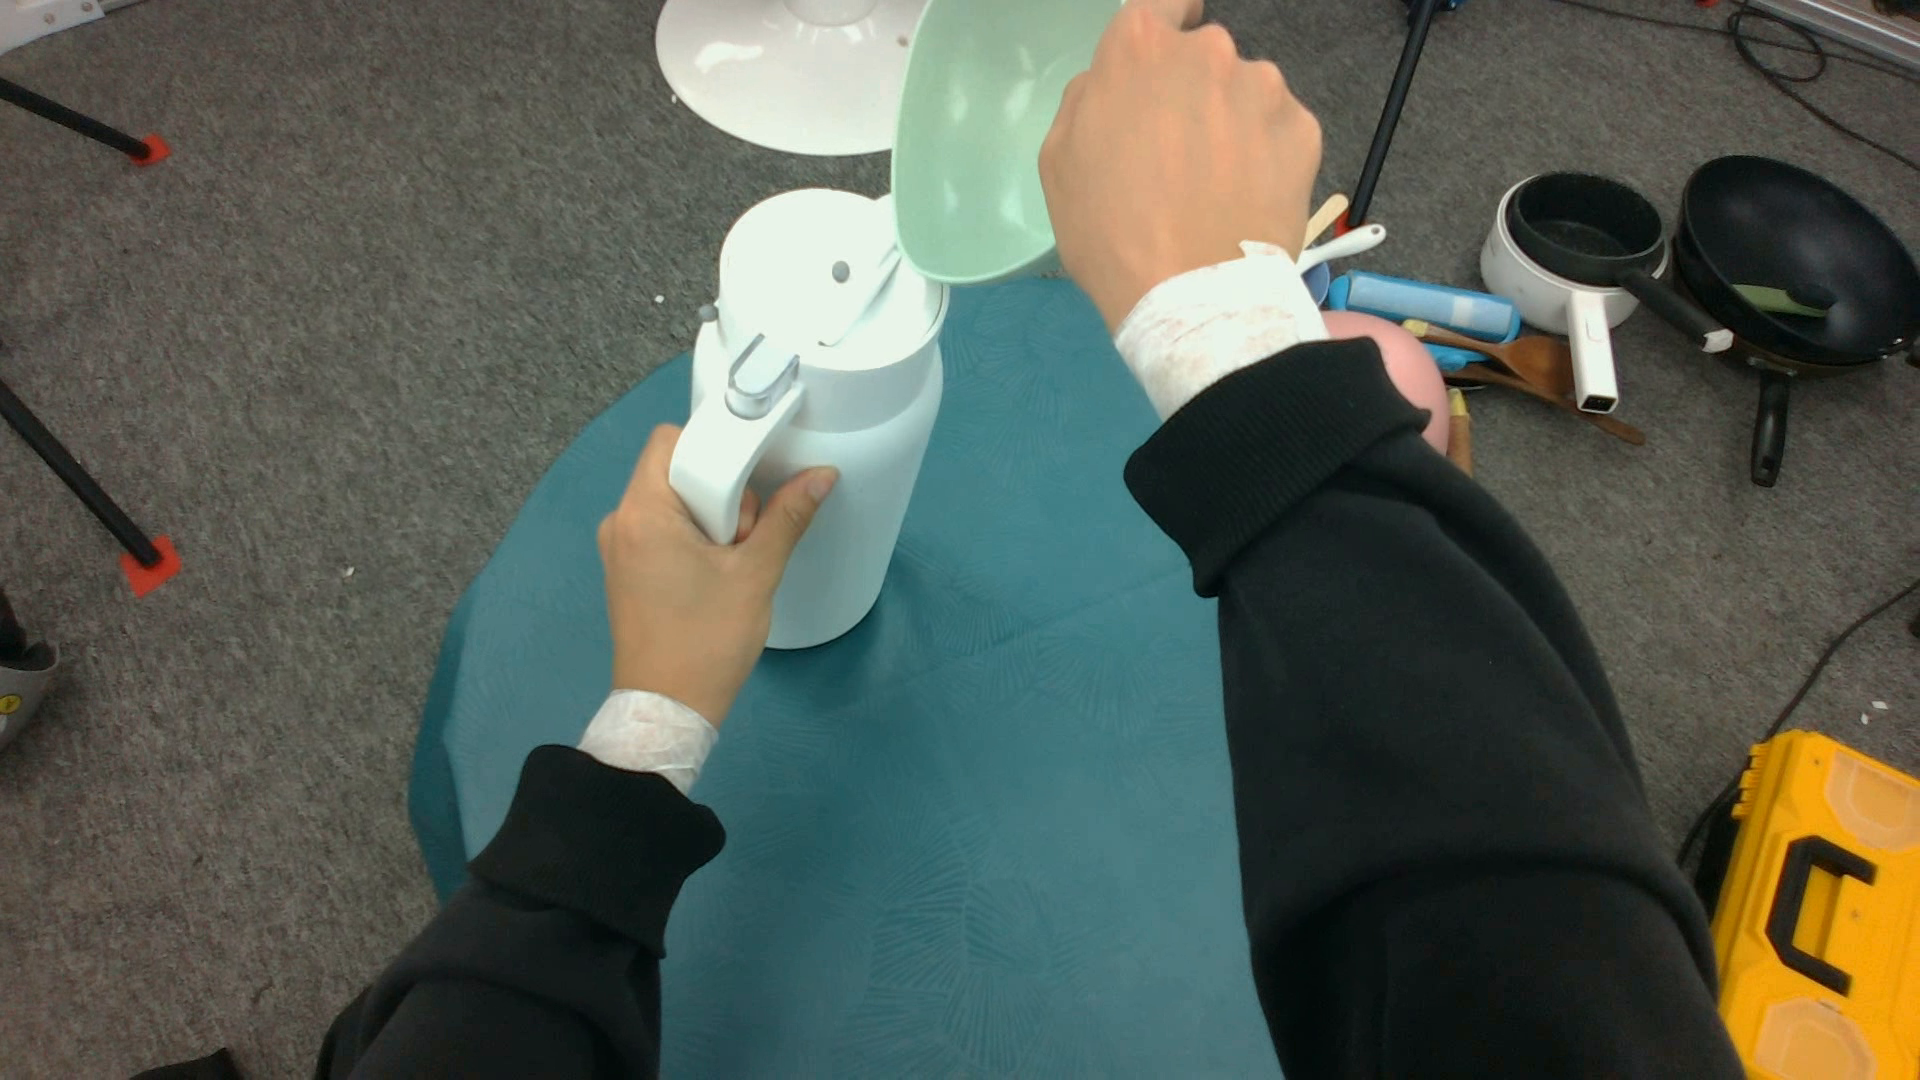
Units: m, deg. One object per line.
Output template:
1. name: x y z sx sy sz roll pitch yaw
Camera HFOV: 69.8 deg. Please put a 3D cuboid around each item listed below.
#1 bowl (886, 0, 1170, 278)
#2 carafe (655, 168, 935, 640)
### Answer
1. bowl: 0.034 -0.170 0.555 0.059 0.150 0.152 6 49 -39
2. carafe: -0.092 -0.042 0.688 0.124 0.267 0.173 29 58 1
